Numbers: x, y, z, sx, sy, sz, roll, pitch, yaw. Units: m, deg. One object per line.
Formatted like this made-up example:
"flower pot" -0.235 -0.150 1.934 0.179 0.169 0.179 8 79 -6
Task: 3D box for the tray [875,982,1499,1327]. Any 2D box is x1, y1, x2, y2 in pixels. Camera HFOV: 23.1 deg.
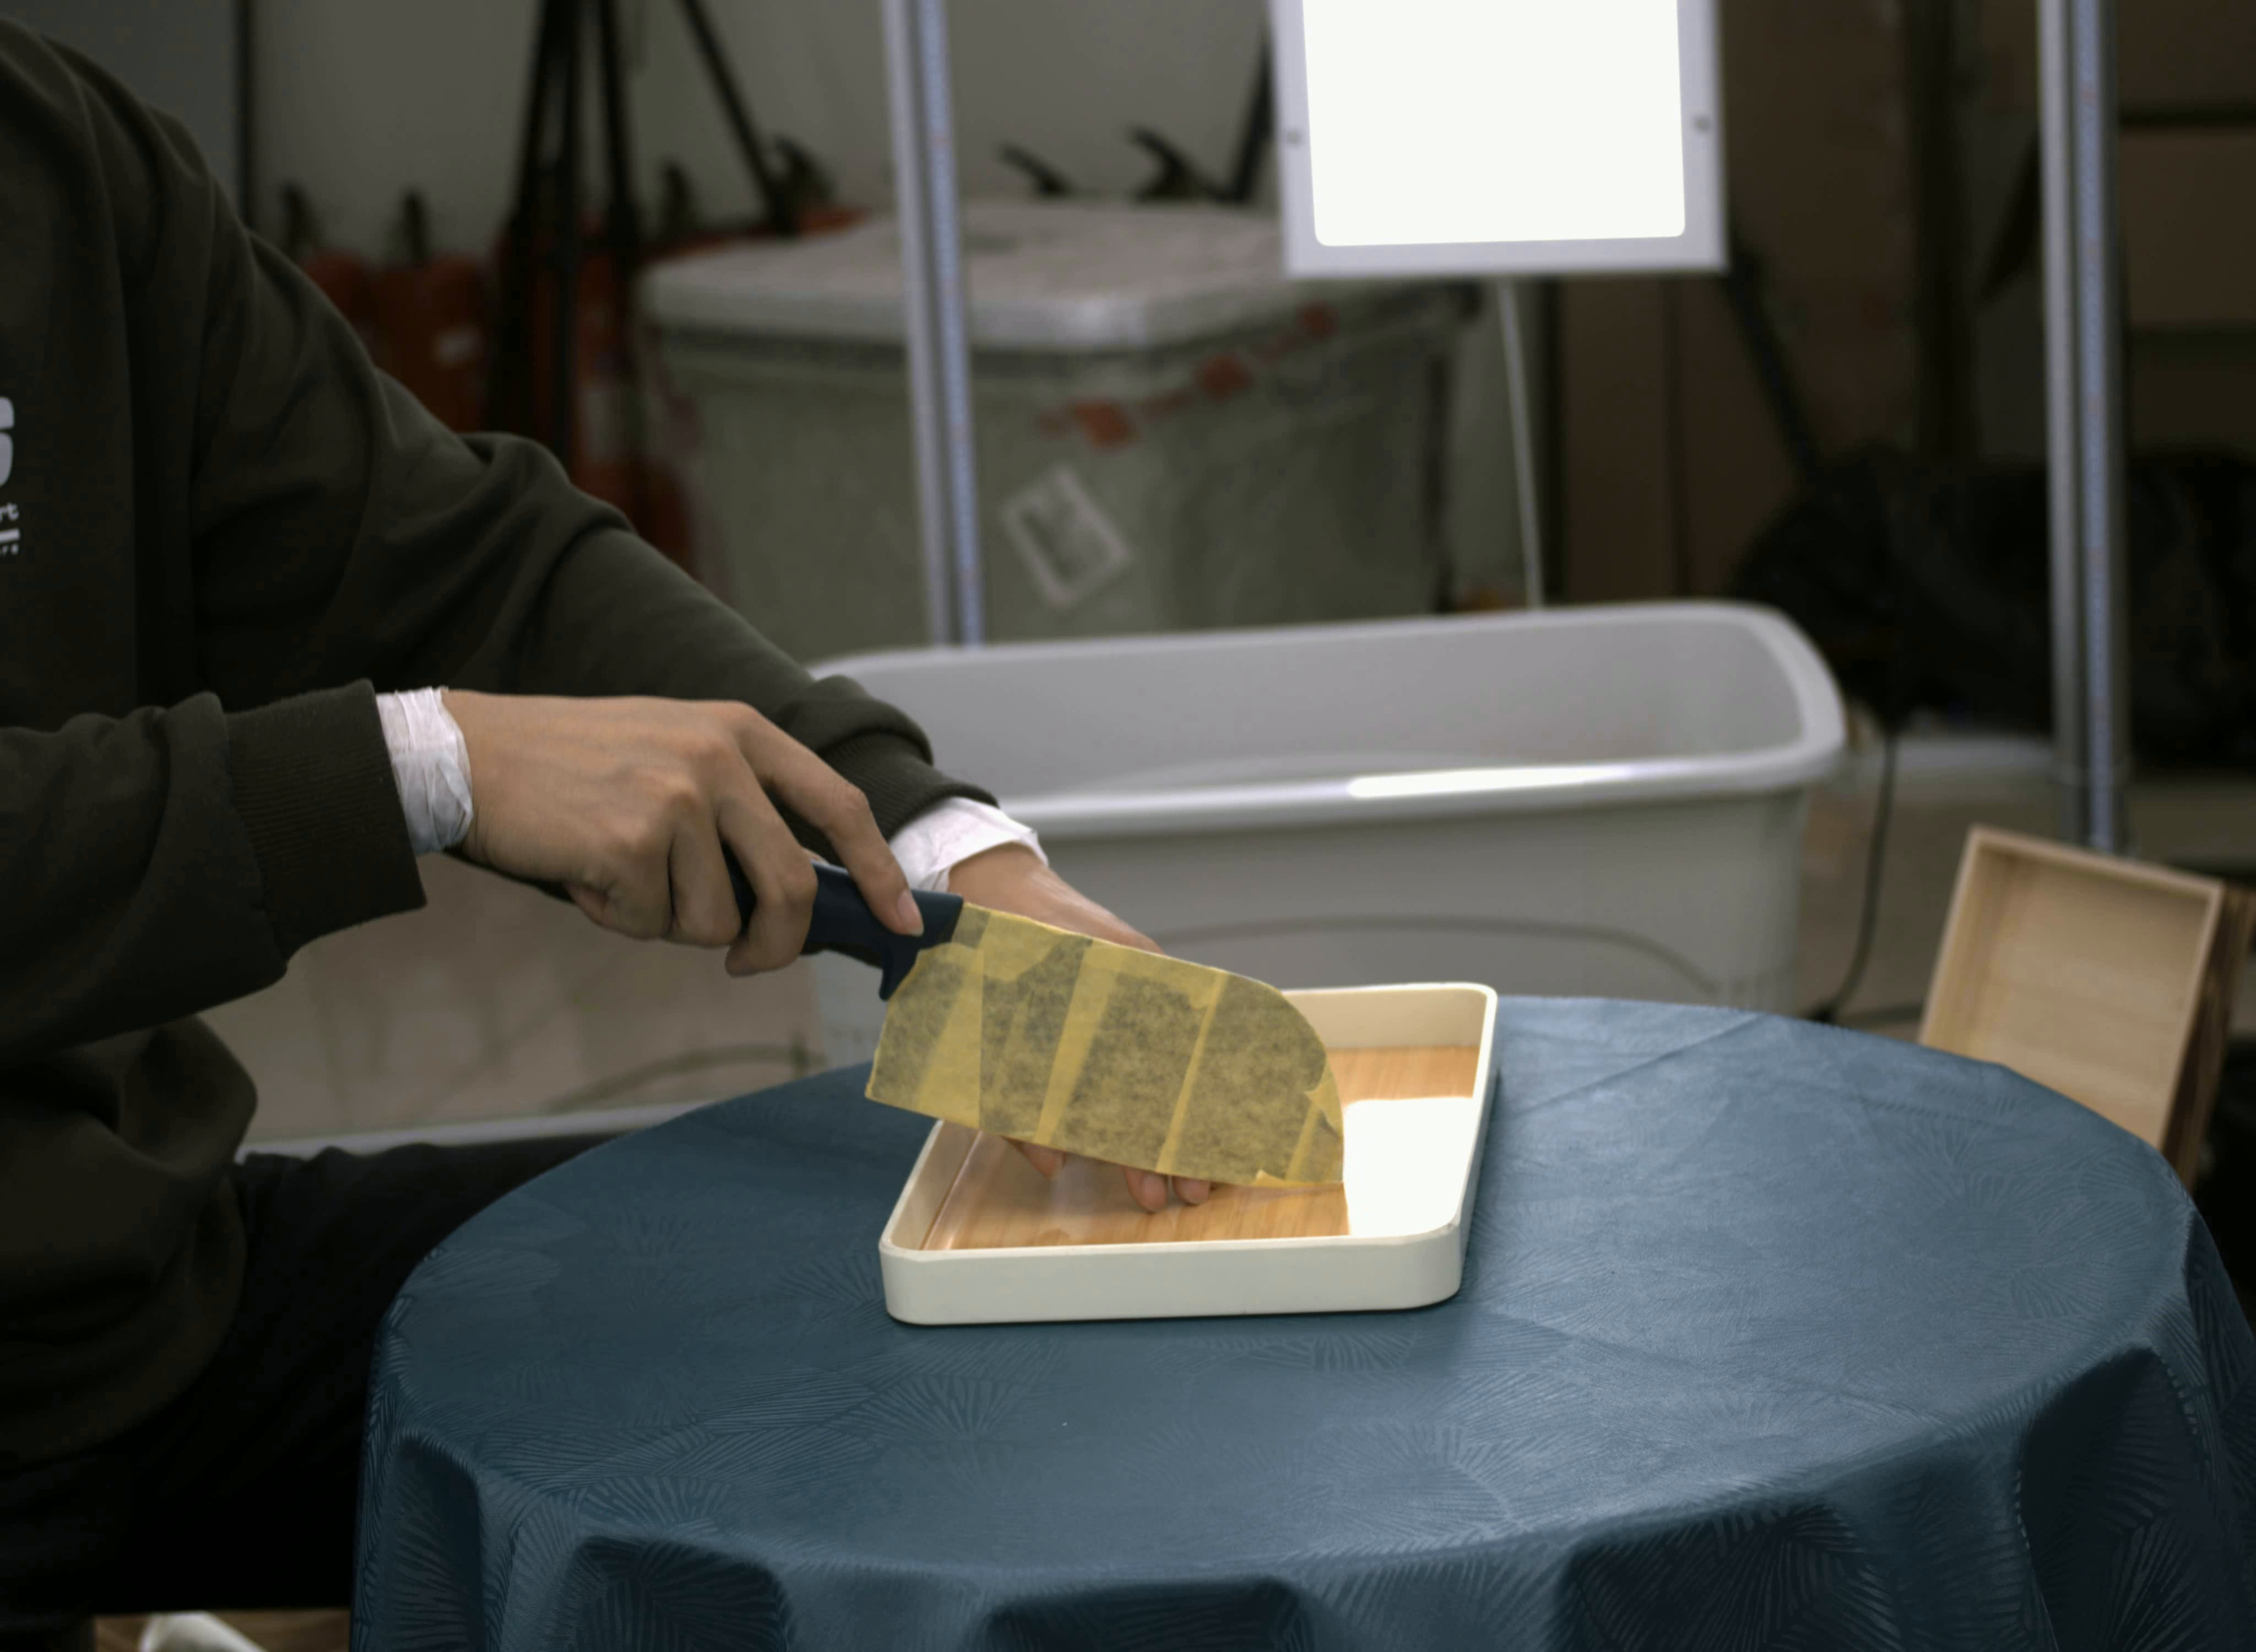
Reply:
"tray" 0.027 0.110 1.904 0.192 0.027 0.297 -4 13 9

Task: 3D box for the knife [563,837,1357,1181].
"knife" -0.055 0.061 1.830 0.286 0.081 0.027 17 4 -13
